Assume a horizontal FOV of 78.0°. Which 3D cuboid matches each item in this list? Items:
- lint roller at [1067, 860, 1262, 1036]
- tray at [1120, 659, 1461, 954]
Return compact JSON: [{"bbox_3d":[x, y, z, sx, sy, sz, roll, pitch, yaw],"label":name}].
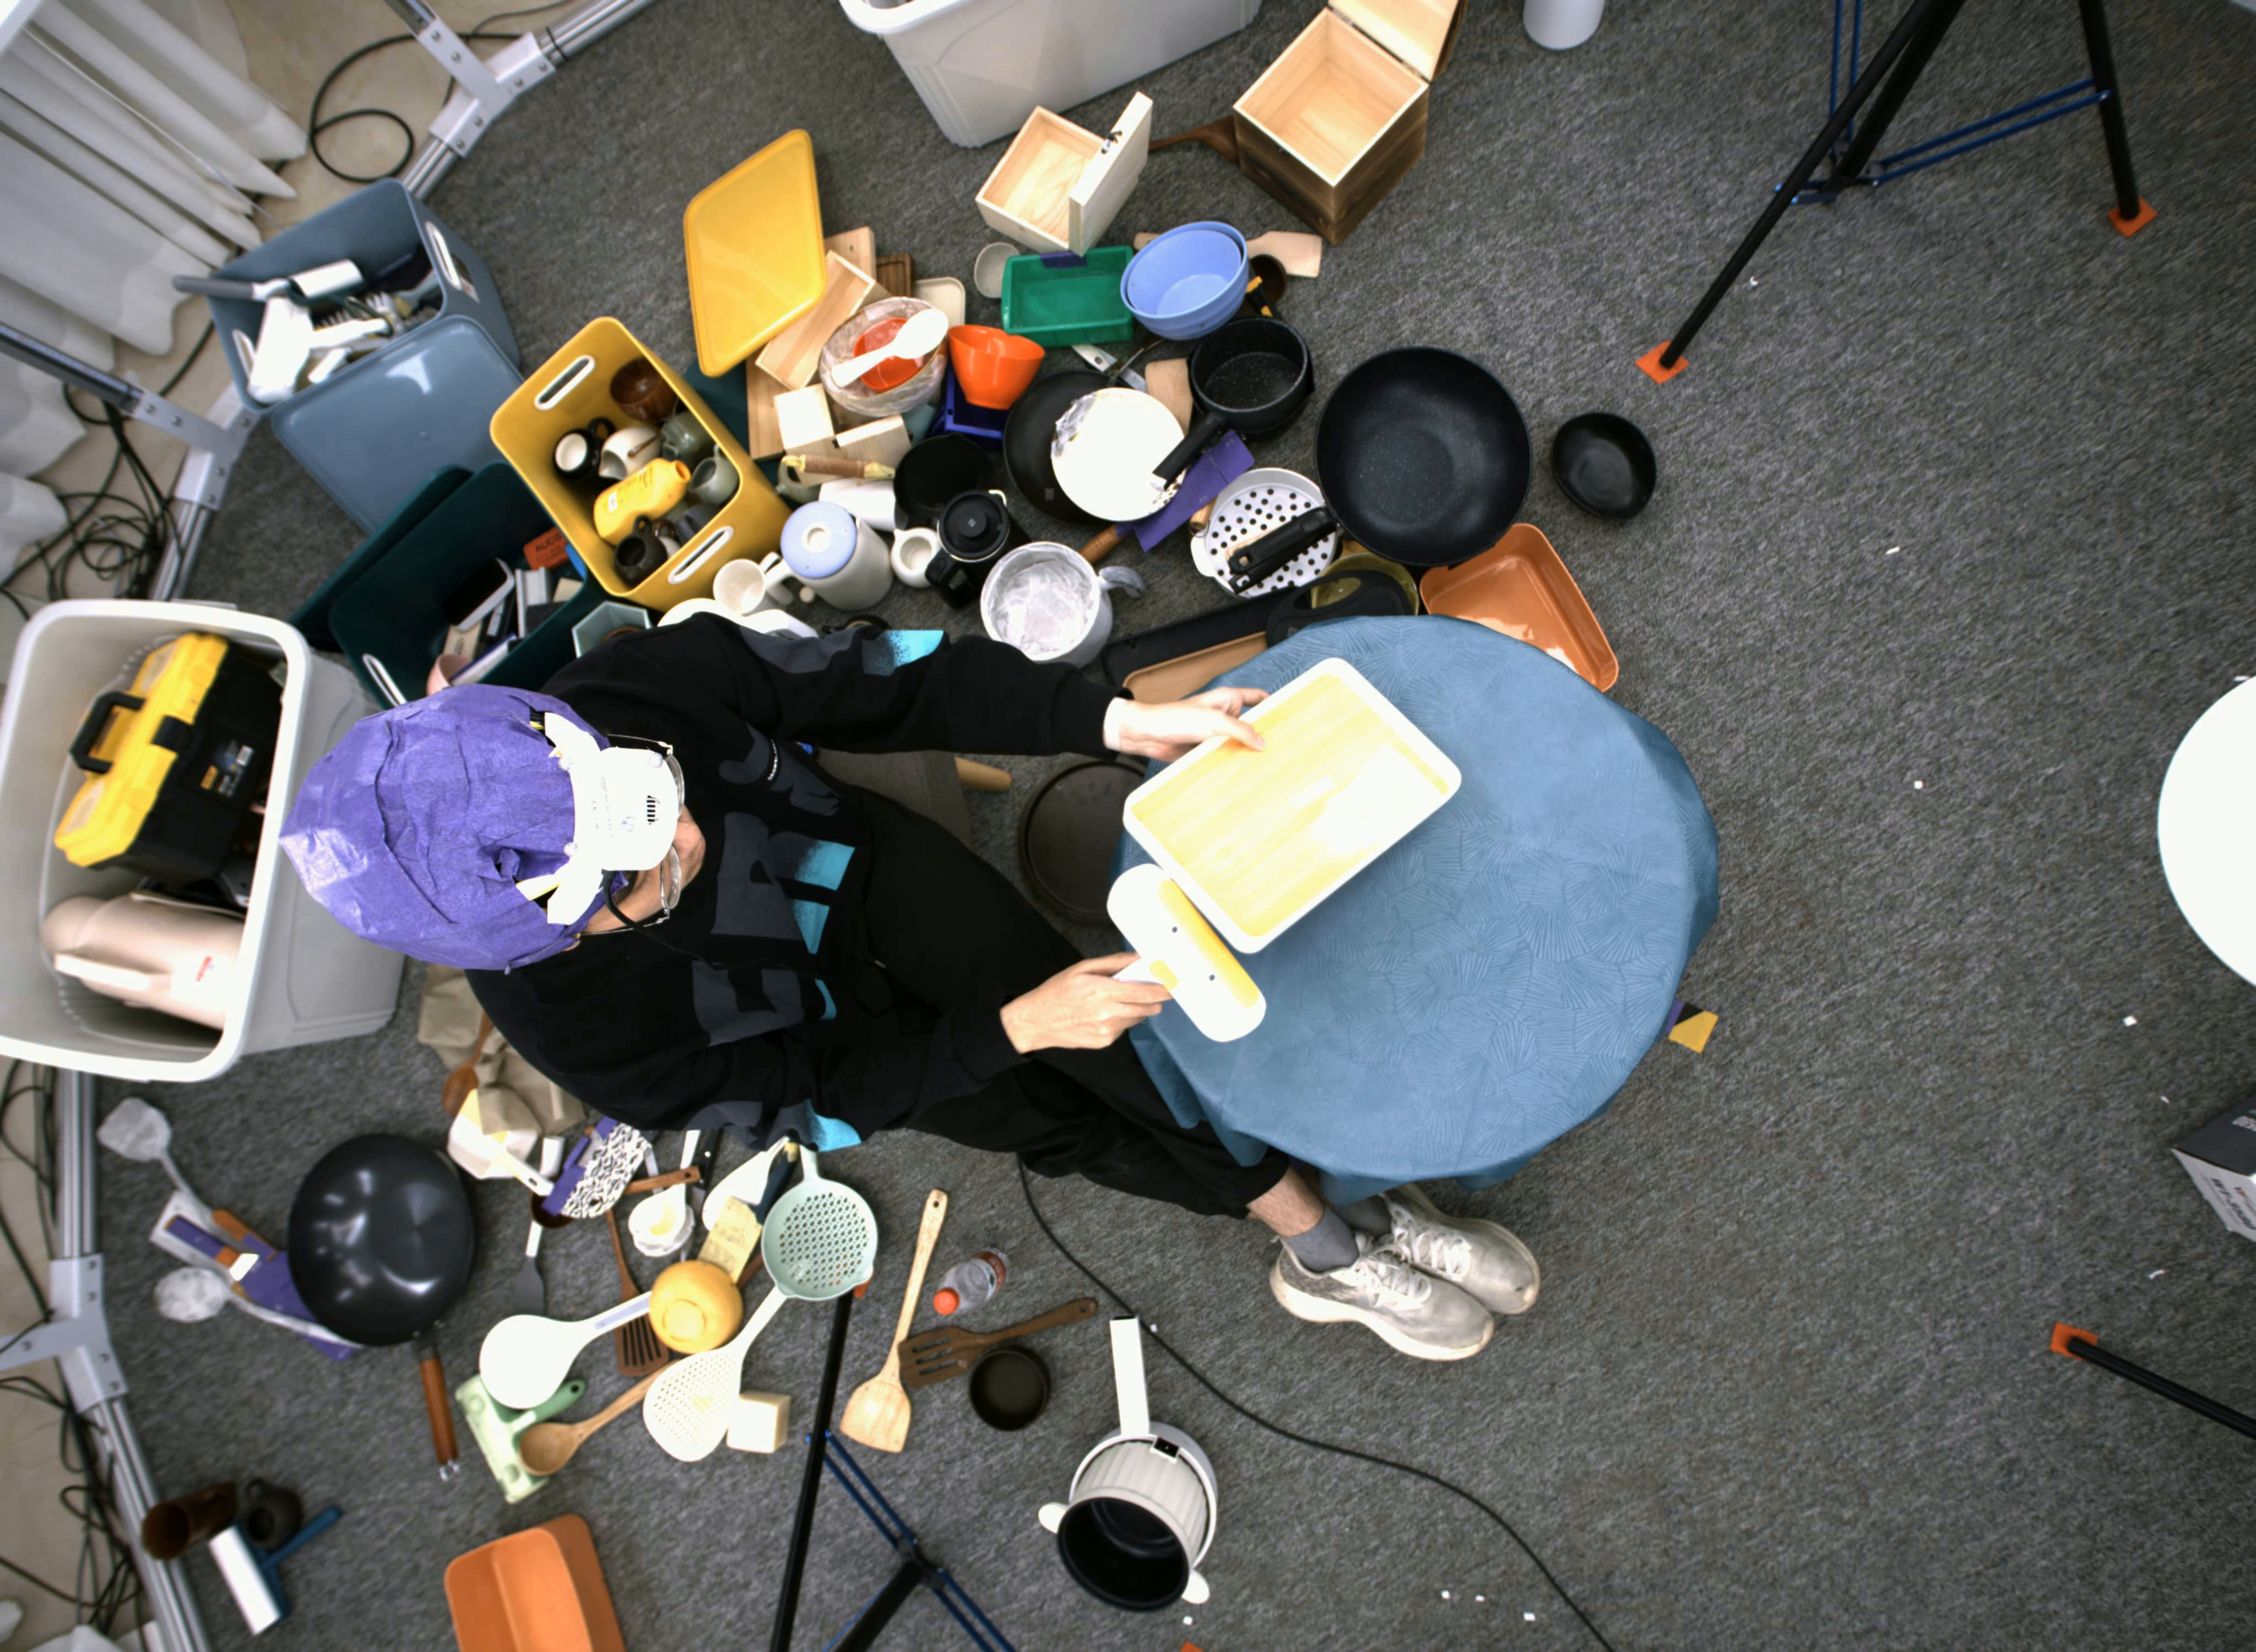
[{"bbox_3d":[0.012,0.144,1.344,0.193,0.072,0.196,45,137,-8],"label":"lint roller"},{"bbox_3d":[0.159,-0.026,1.330,0.296,0.028,0.190,-35,73,-21],"label":"tray"}]
